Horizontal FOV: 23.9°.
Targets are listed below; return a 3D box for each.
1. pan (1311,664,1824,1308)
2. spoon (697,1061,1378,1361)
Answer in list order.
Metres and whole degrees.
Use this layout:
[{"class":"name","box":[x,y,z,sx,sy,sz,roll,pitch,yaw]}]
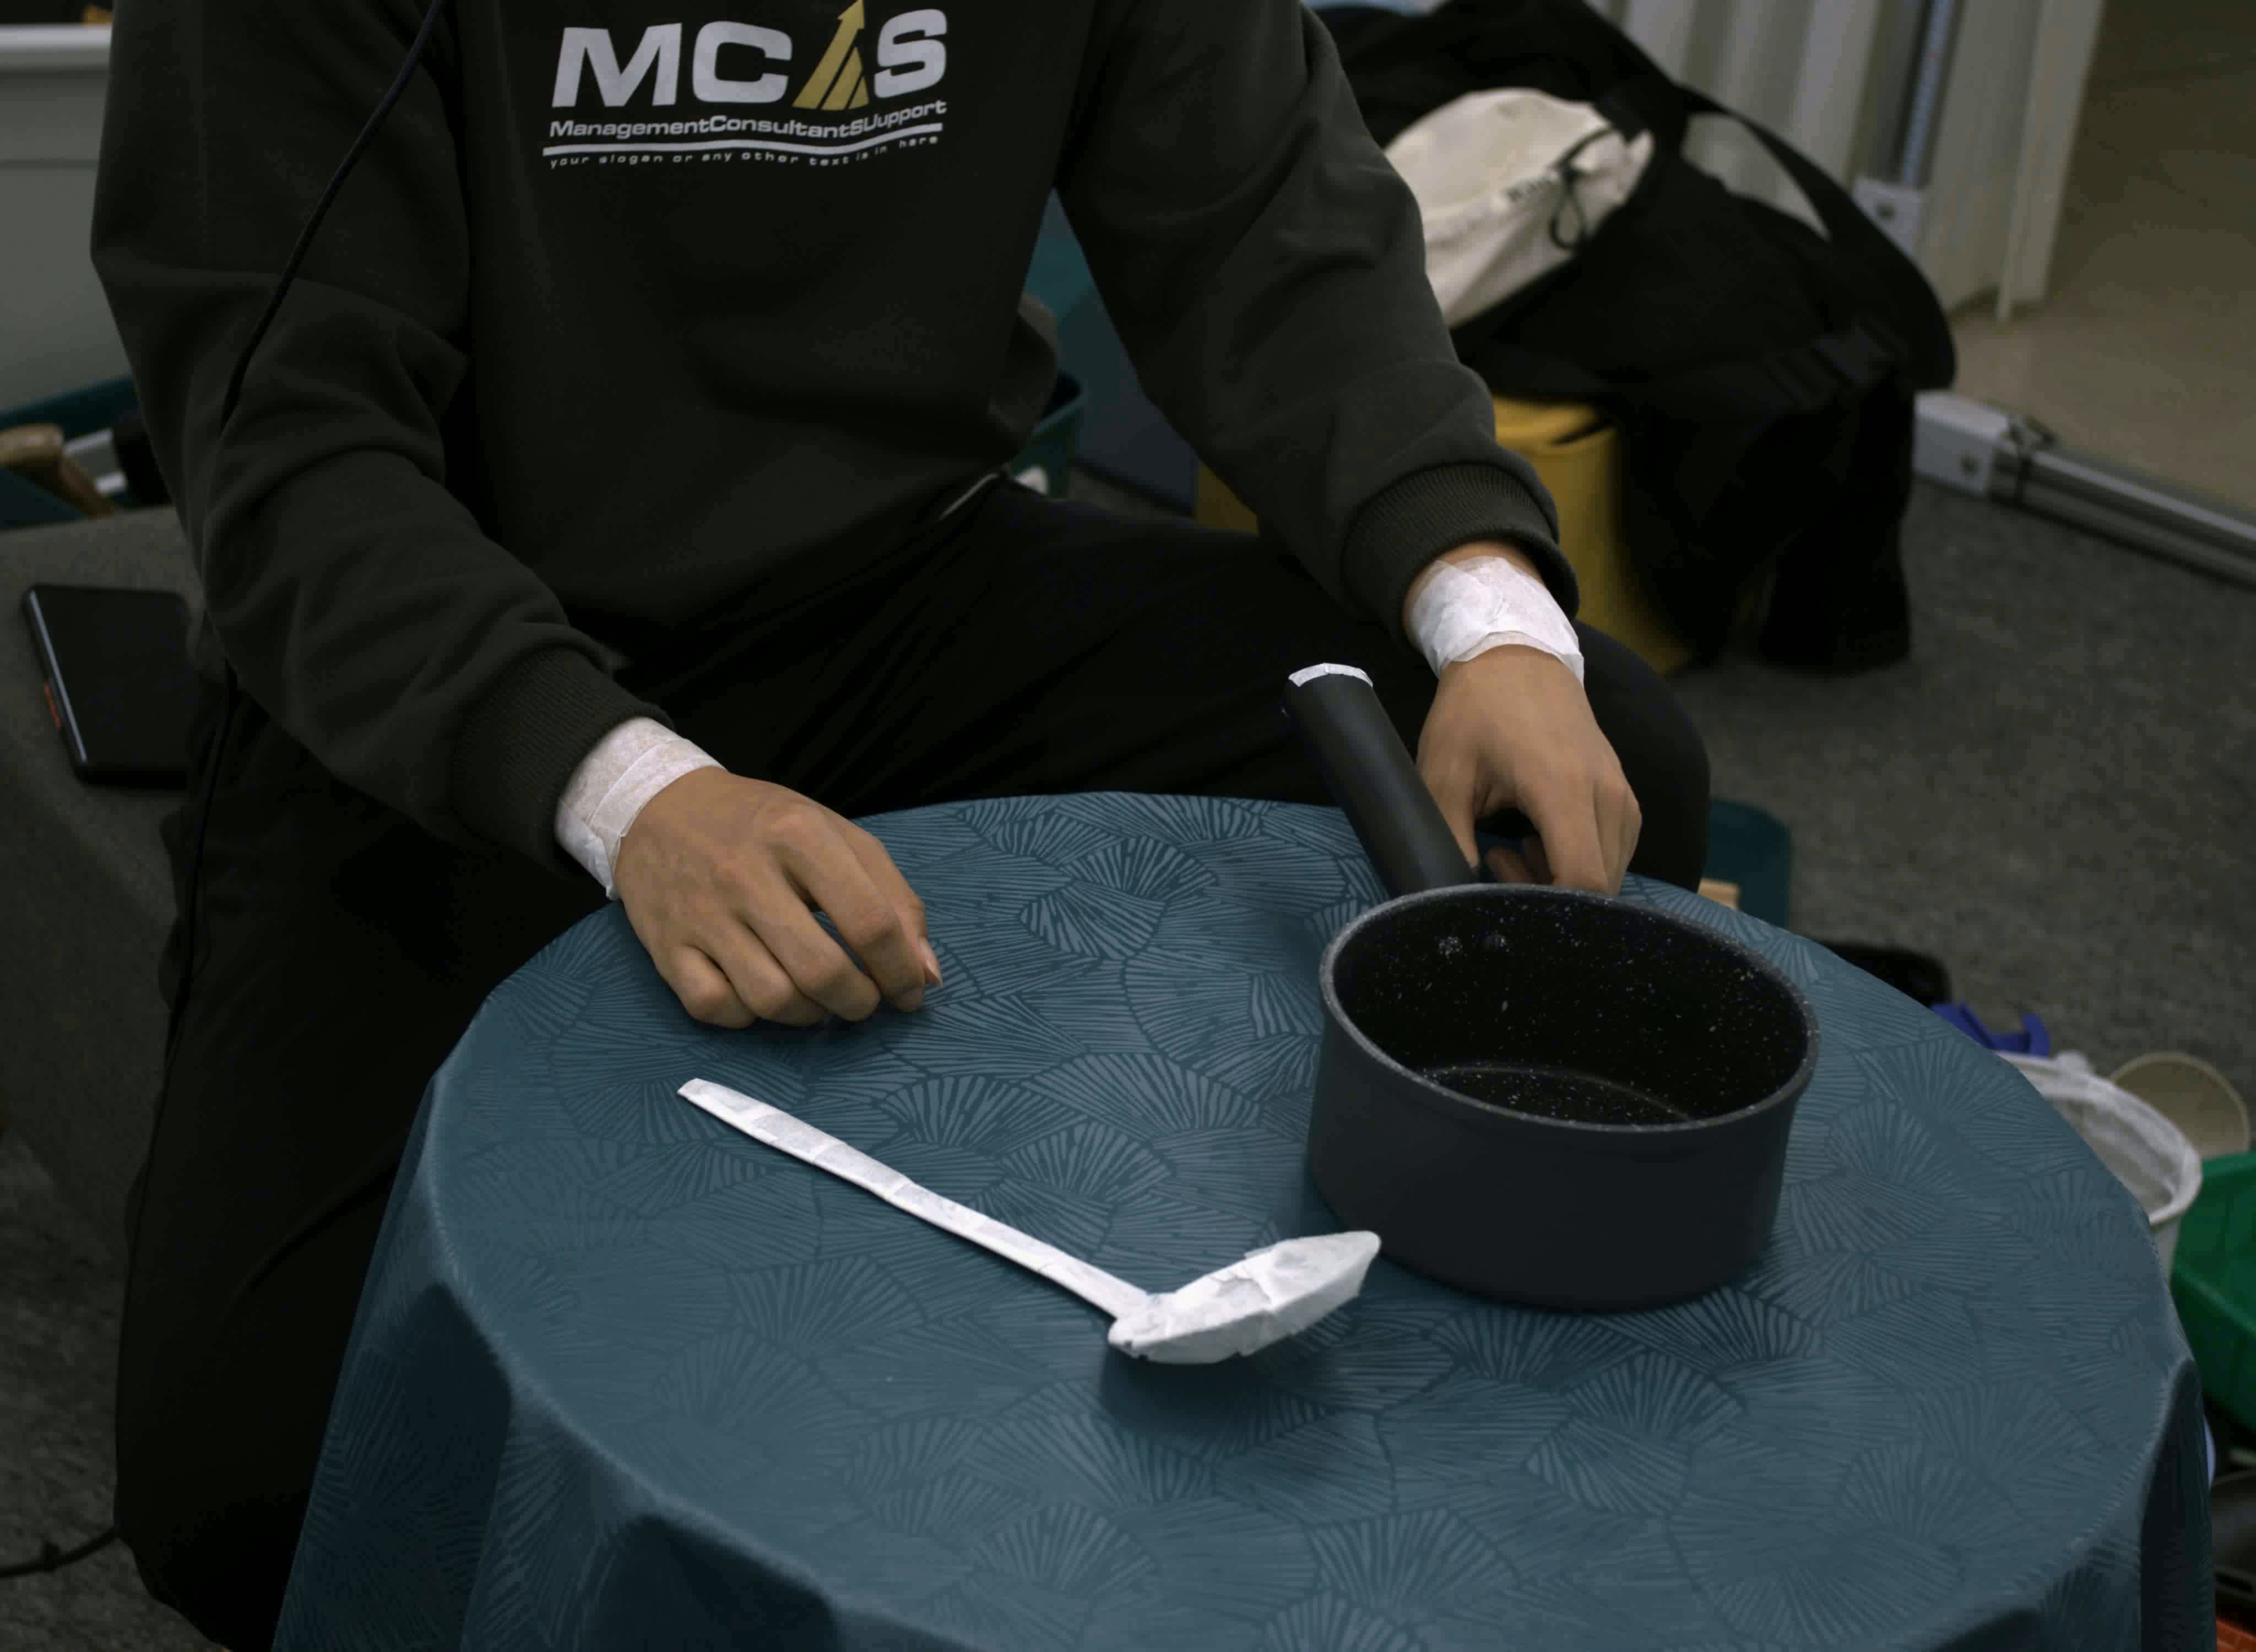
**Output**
[{"class":"pan","box":[0.125,0.053,1.882,0.171,0.086,0.331,-1,28,-17]},{"class":"spoon","box":[-0.037,0.111,1.759,0.279,0.059,0.100,26,30,34]}]
